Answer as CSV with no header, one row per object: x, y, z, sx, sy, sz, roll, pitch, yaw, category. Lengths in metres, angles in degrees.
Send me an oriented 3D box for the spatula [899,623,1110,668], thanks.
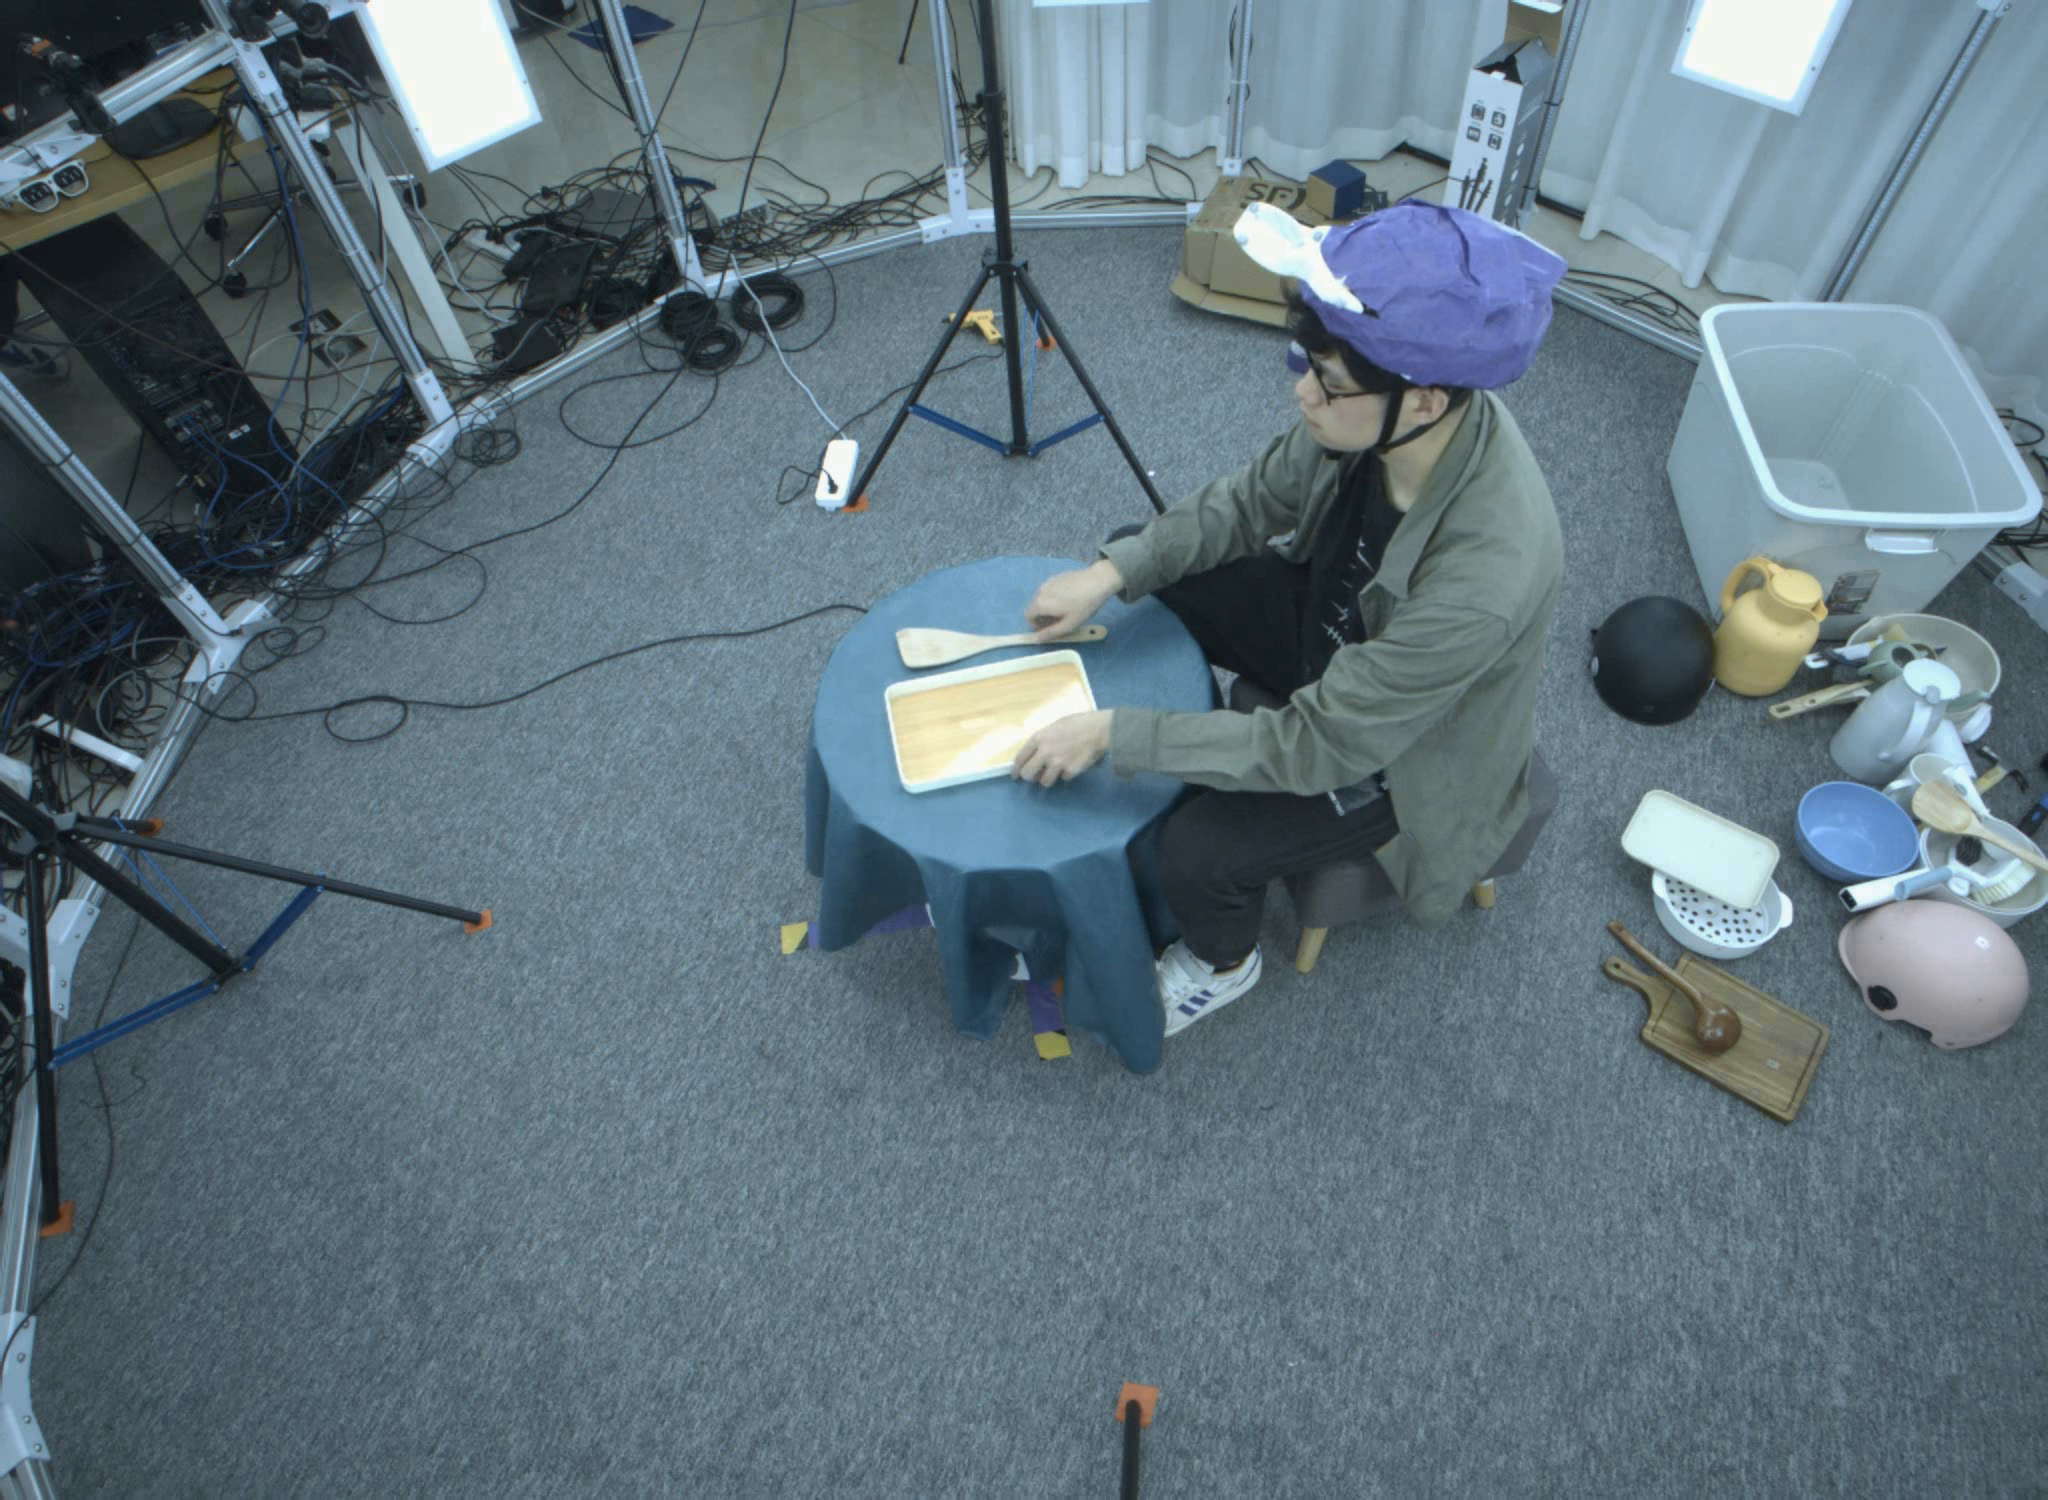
-0.030,-0.172,1.905,0.328,0.017,0.079,-6,55,-3,spatula

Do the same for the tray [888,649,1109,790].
-0.040,-0.047,1.810,0.302,0.027,0.188,-11,55,-7,tray
